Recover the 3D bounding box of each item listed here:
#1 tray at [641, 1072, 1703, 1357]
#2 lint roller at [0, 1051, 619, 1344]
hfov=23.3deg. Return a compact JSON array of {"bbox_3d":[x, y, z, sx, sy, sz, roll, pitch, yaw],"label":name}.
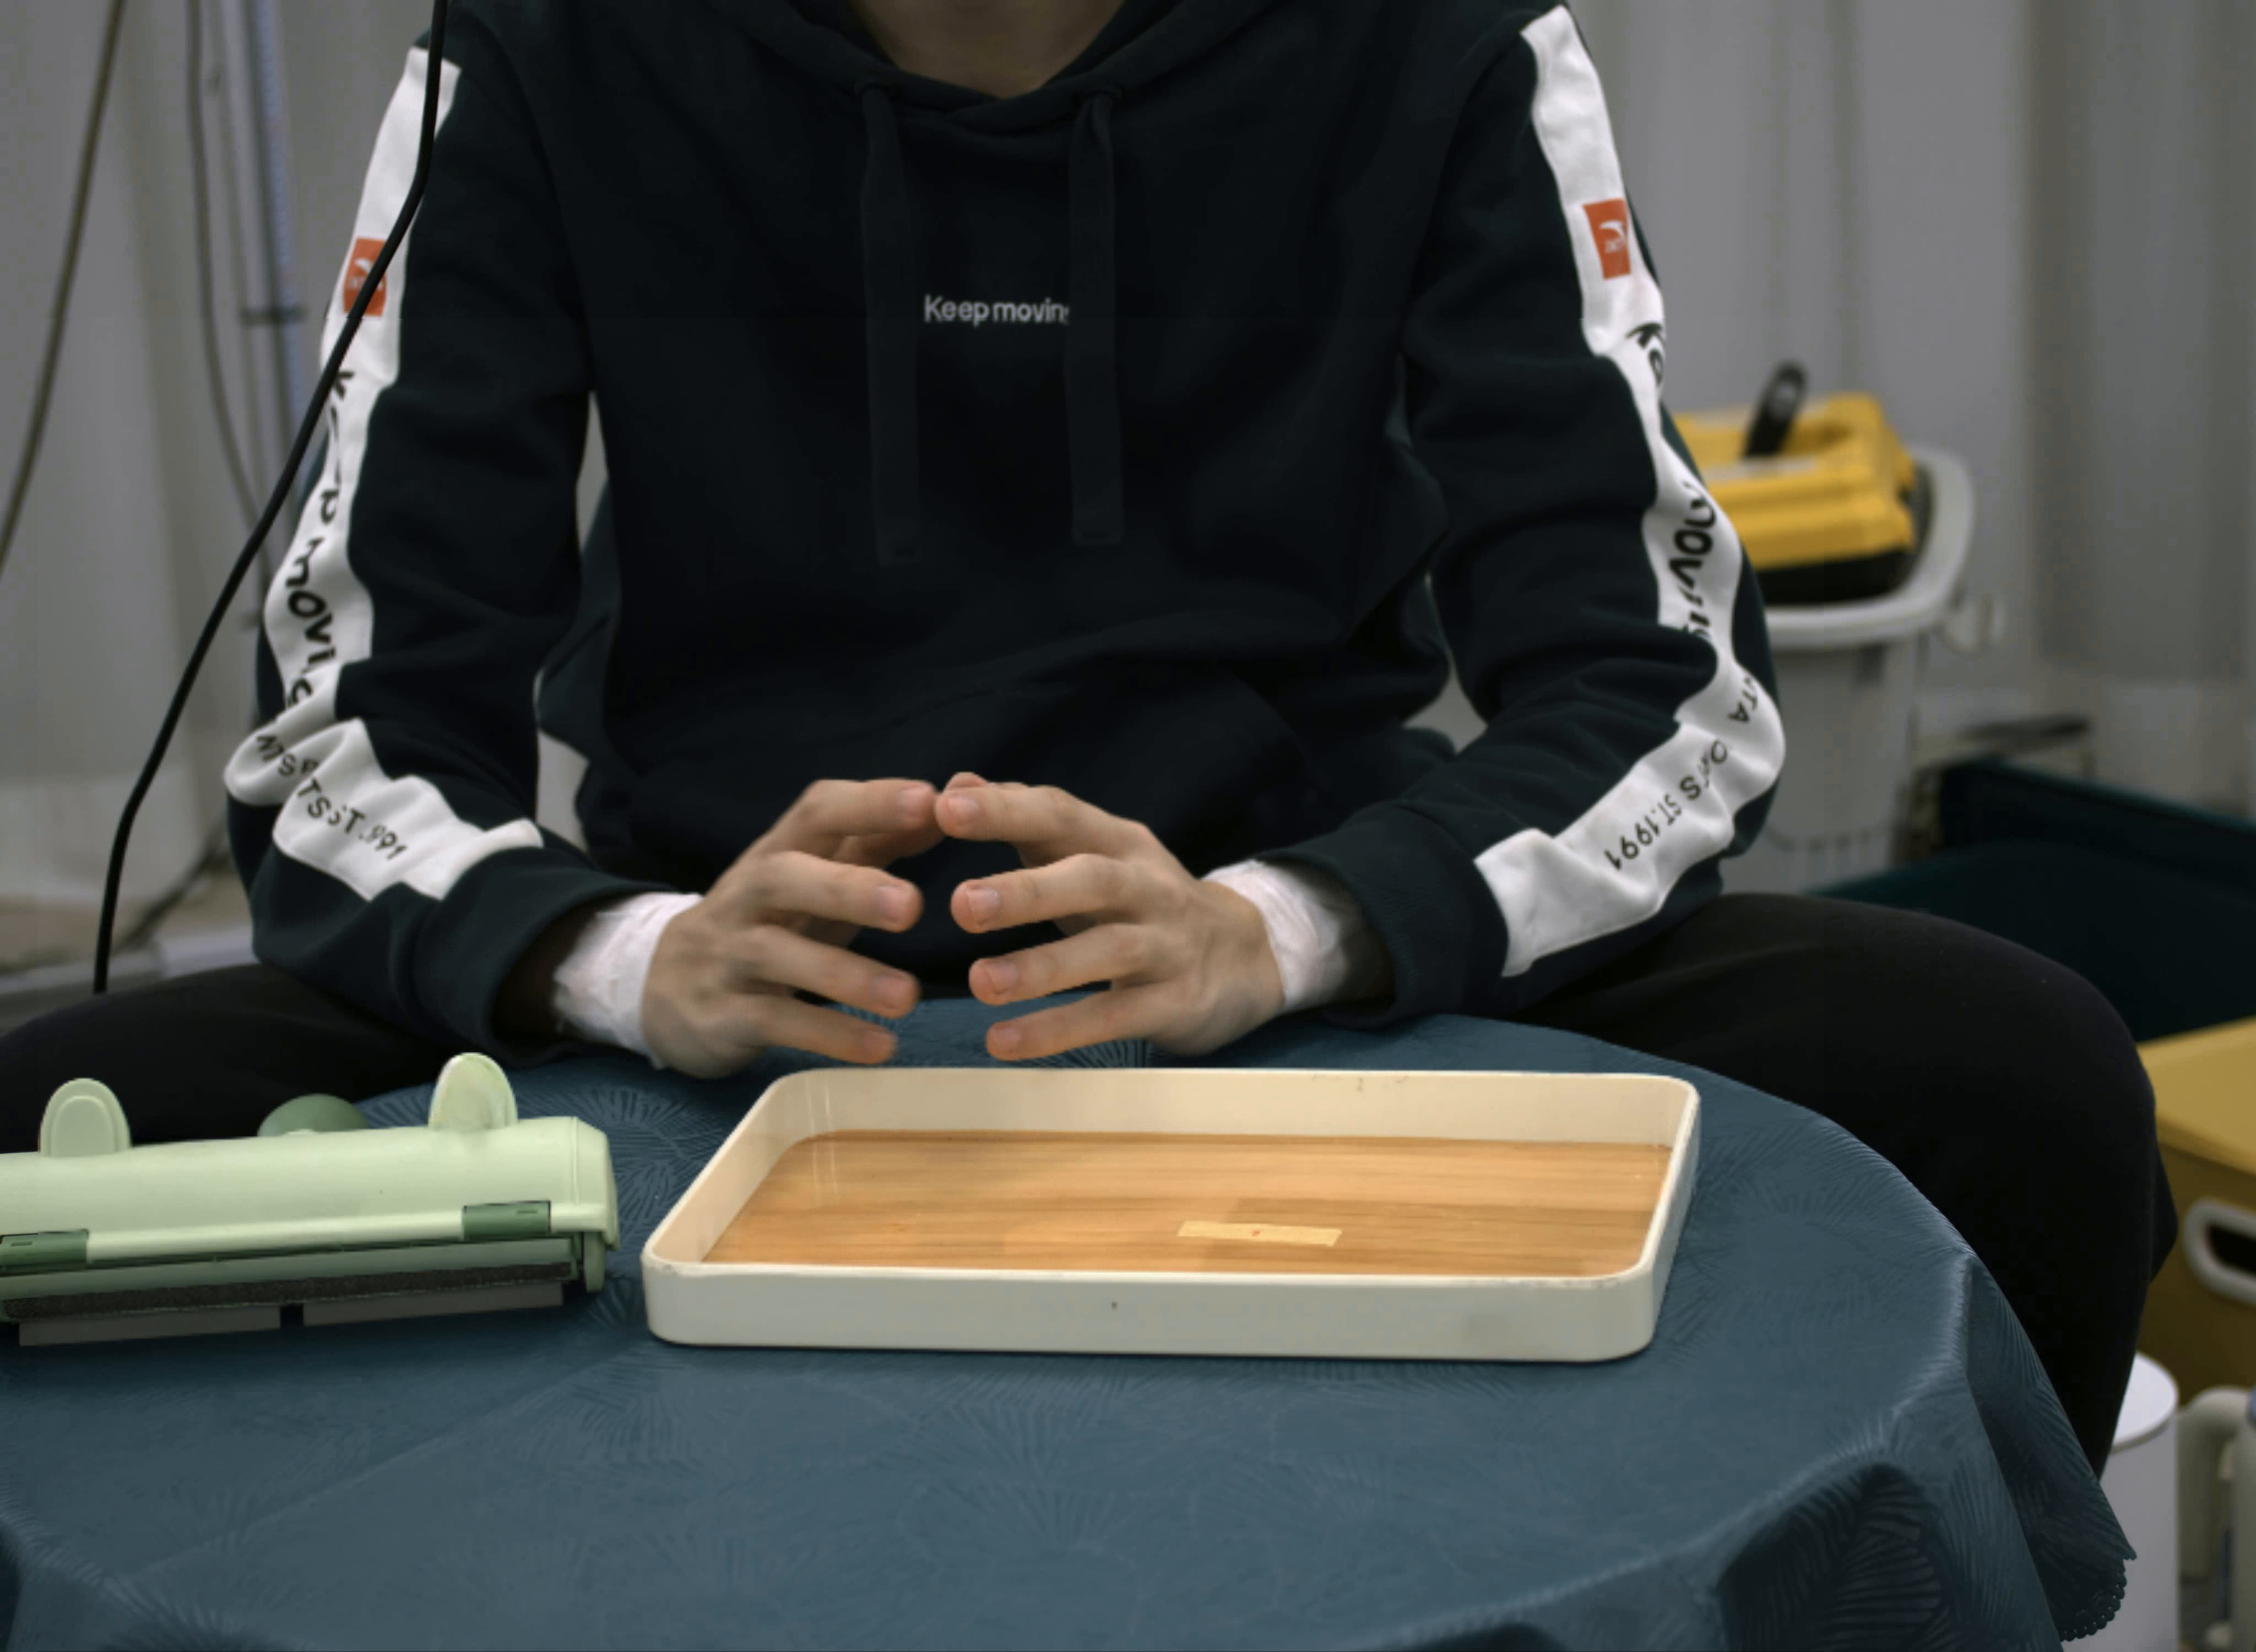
[{"bbox_3d":[0.018,0.116,1.655,0.300,0.027,0.192,0,15,12],"label":"tray"},{"bbox_3d":[-0.256,0.096,1.688,0.198,0.082,0.185,-4,19,-3],"label":"lint roller"}]
